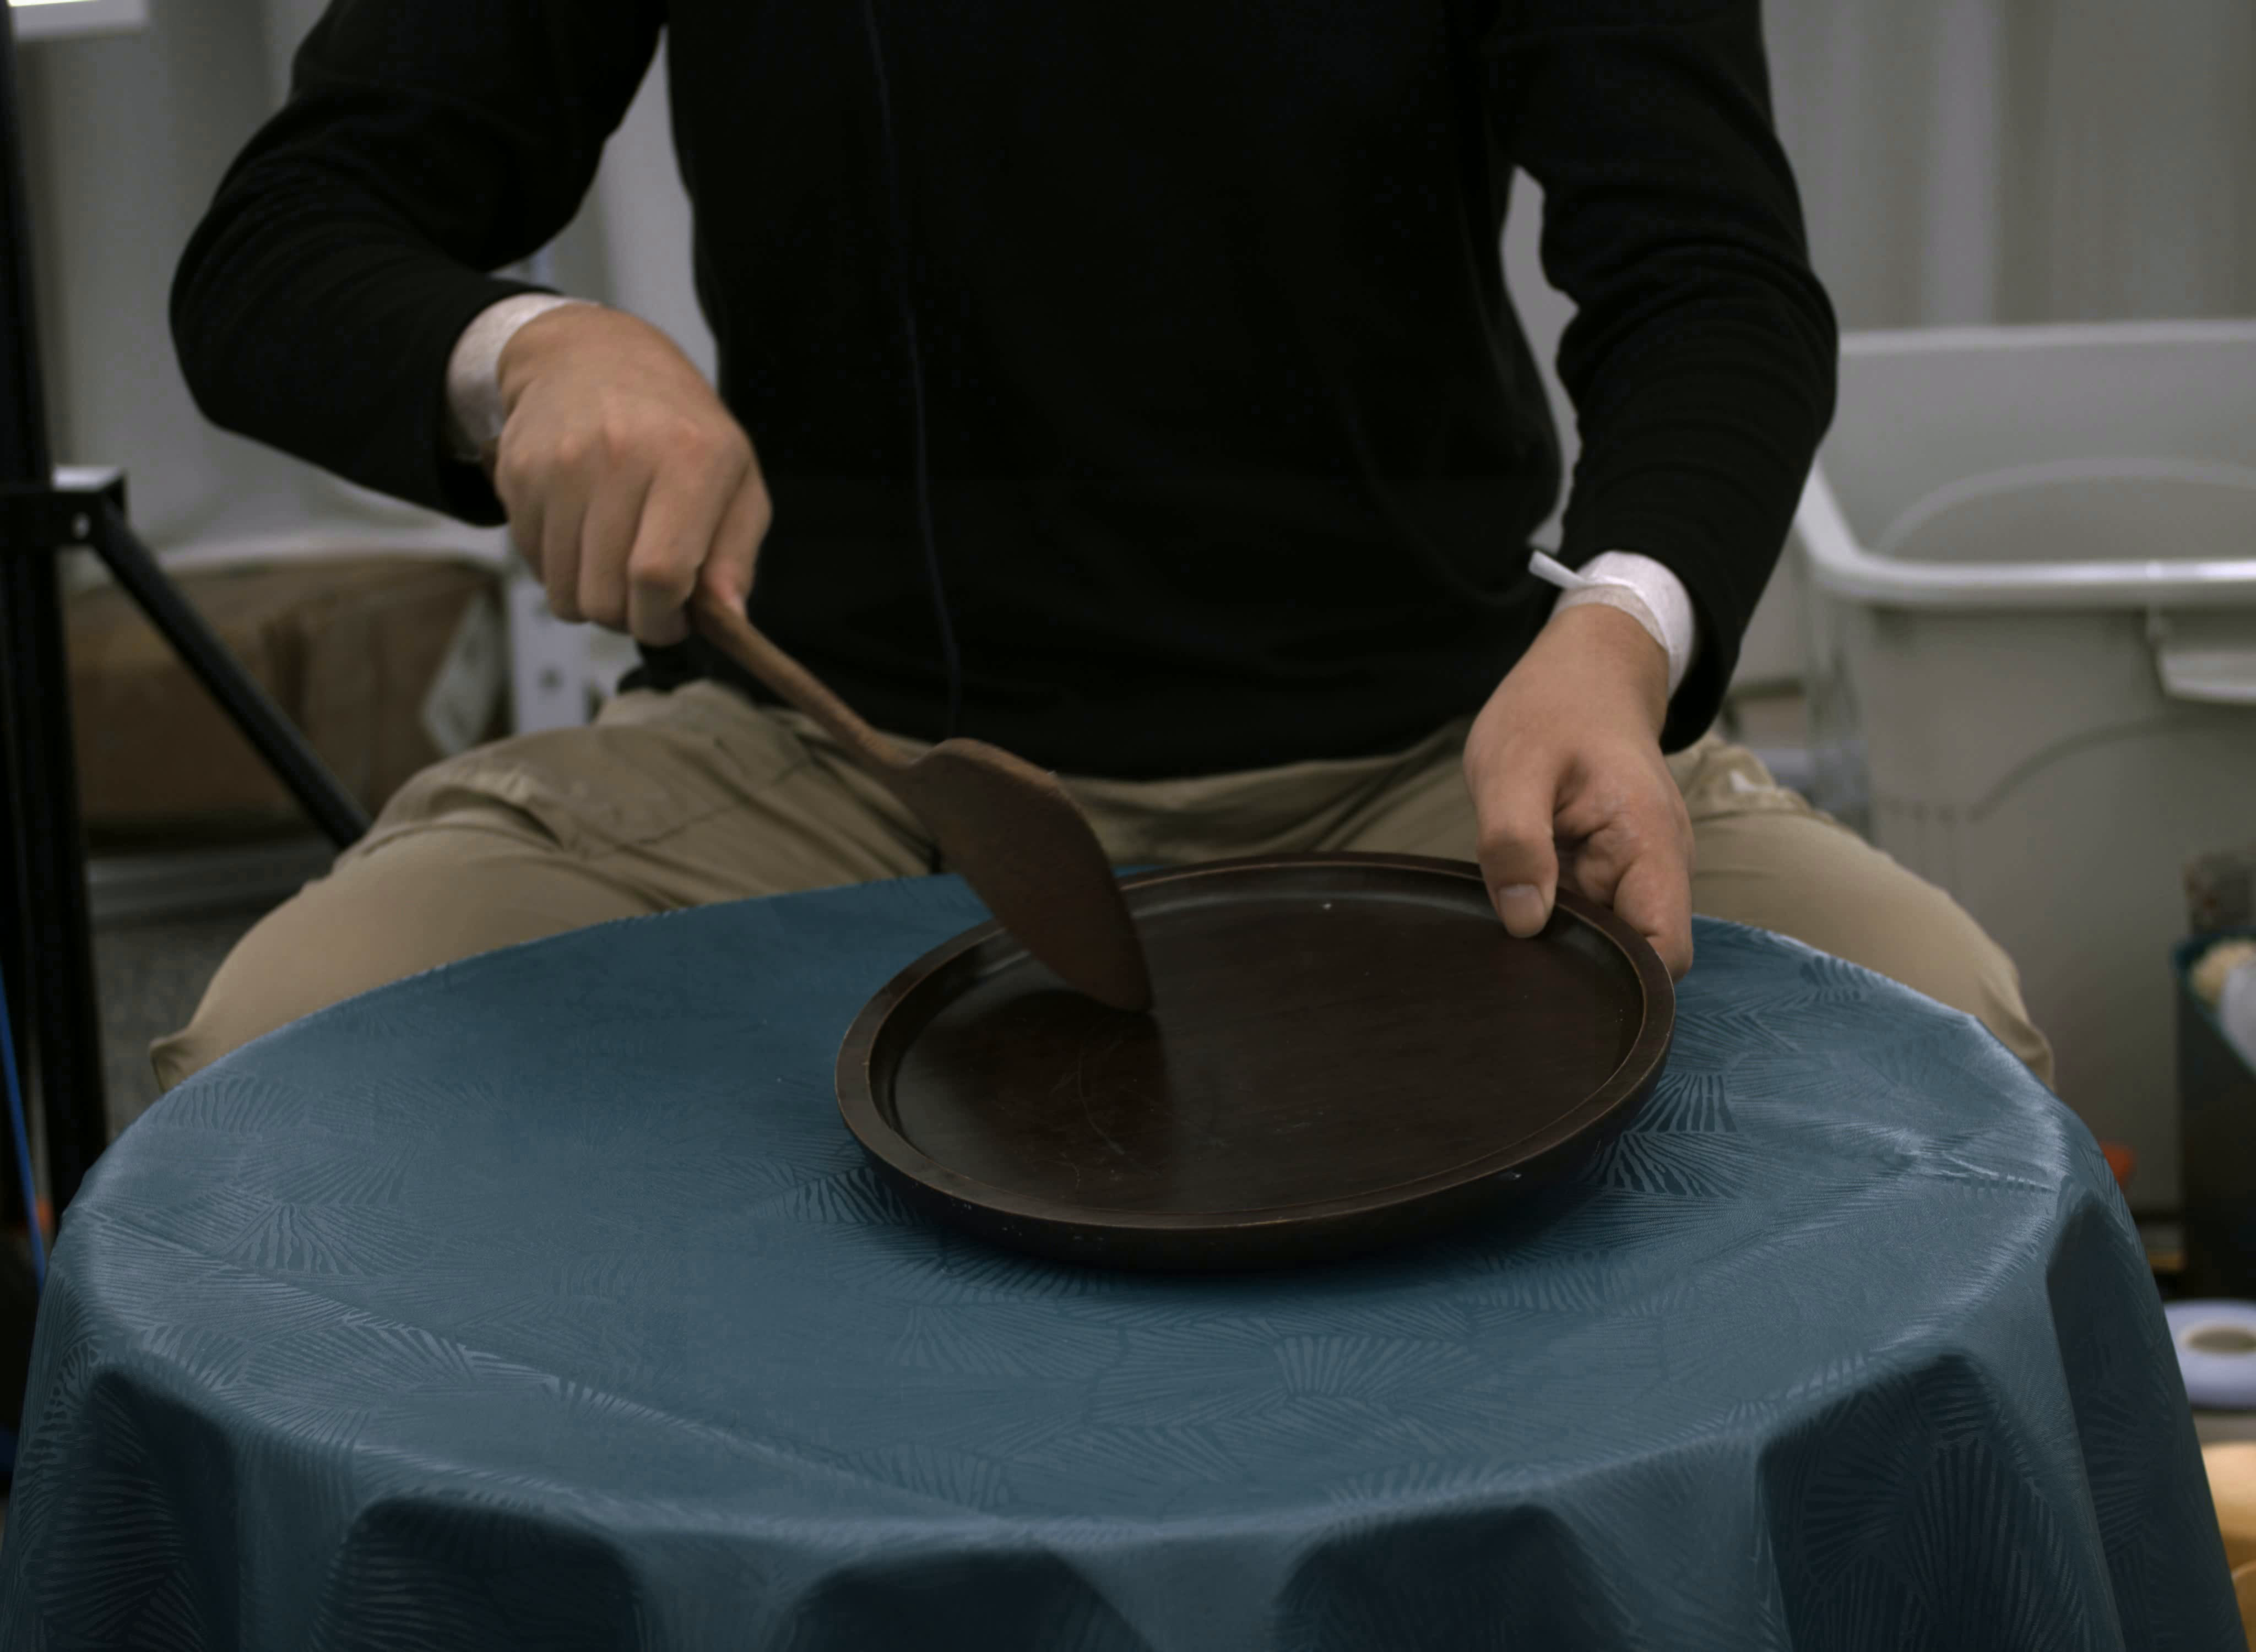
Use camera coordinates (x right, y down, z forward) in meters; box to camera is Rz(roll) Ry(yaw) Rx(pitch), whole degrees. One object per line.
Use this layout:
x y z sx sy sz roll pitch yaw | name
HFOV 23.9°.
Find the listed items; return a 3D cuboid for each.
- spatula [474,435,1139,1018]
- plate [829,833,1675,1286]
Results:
-0.113 -0.049 1.721 0.015 0.095 0.395 -33 40 -18 | spatula
0.037 0.070 1.585 0.254 0.029 0.257 -7 25 2 | plate
